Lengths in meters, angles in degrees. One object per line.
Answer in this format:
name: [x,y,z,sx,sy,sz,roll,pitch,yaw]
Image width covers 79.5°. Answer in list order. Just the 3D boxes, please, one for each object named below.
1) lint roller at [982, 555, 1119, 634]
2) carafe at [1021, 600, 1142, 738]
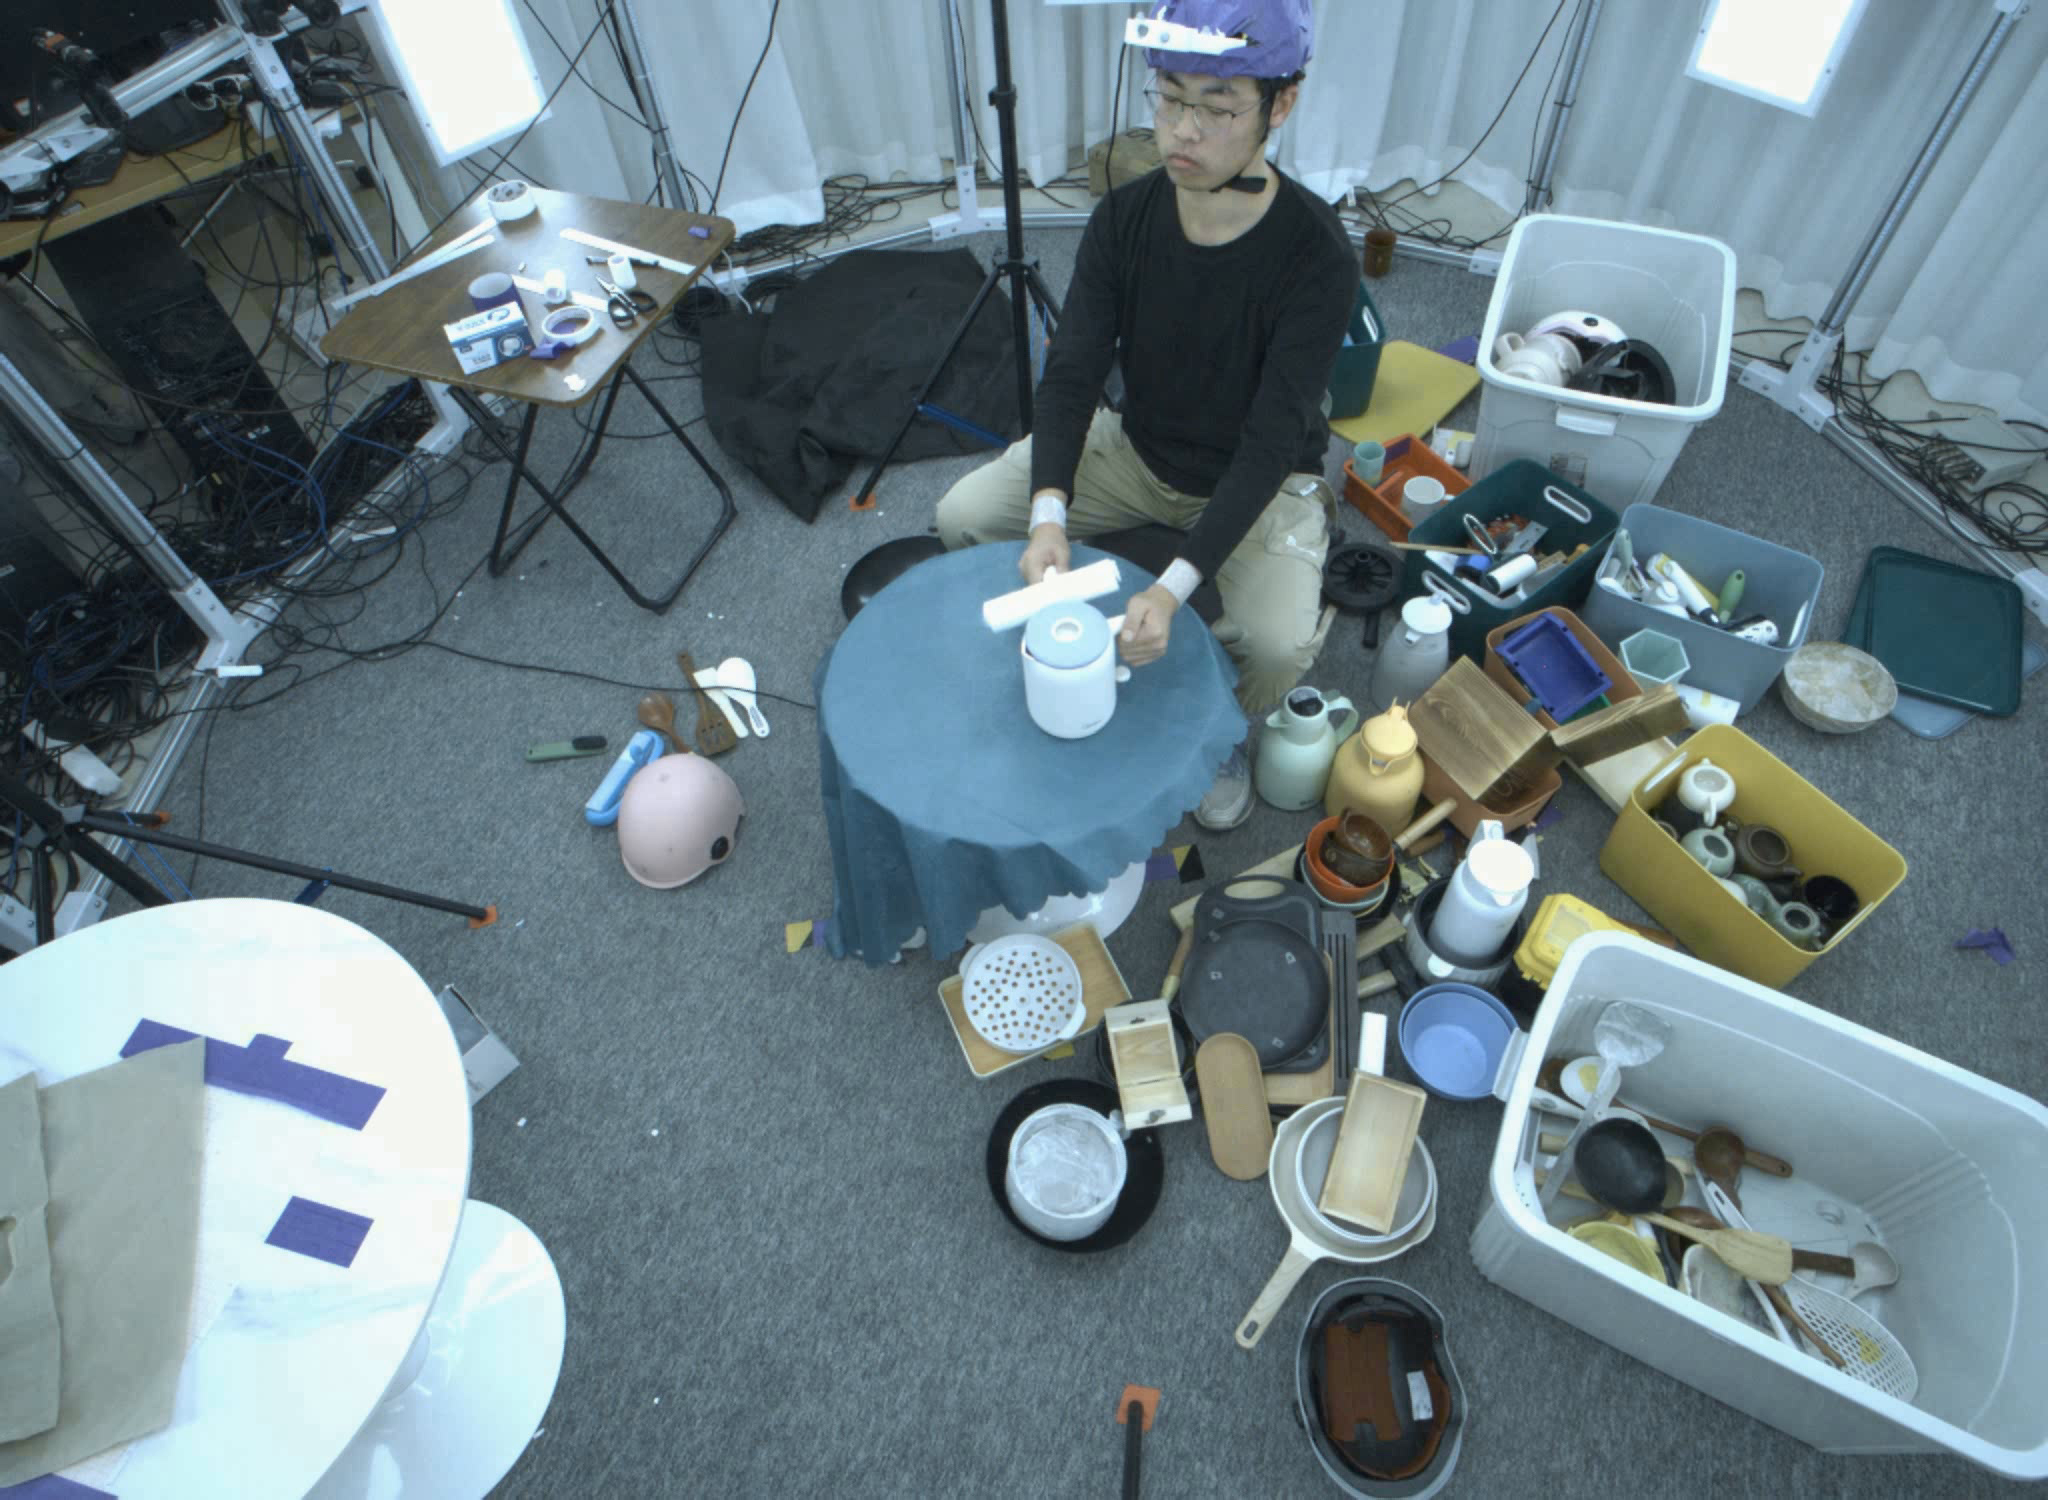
lint roller: [0.036,-0.257,1.828,0.202,0.049,0.223,-19,25,7]
carafe: [0.086,-0.125,1.763,0.192,0.184,0.130,-24,59,-14]
